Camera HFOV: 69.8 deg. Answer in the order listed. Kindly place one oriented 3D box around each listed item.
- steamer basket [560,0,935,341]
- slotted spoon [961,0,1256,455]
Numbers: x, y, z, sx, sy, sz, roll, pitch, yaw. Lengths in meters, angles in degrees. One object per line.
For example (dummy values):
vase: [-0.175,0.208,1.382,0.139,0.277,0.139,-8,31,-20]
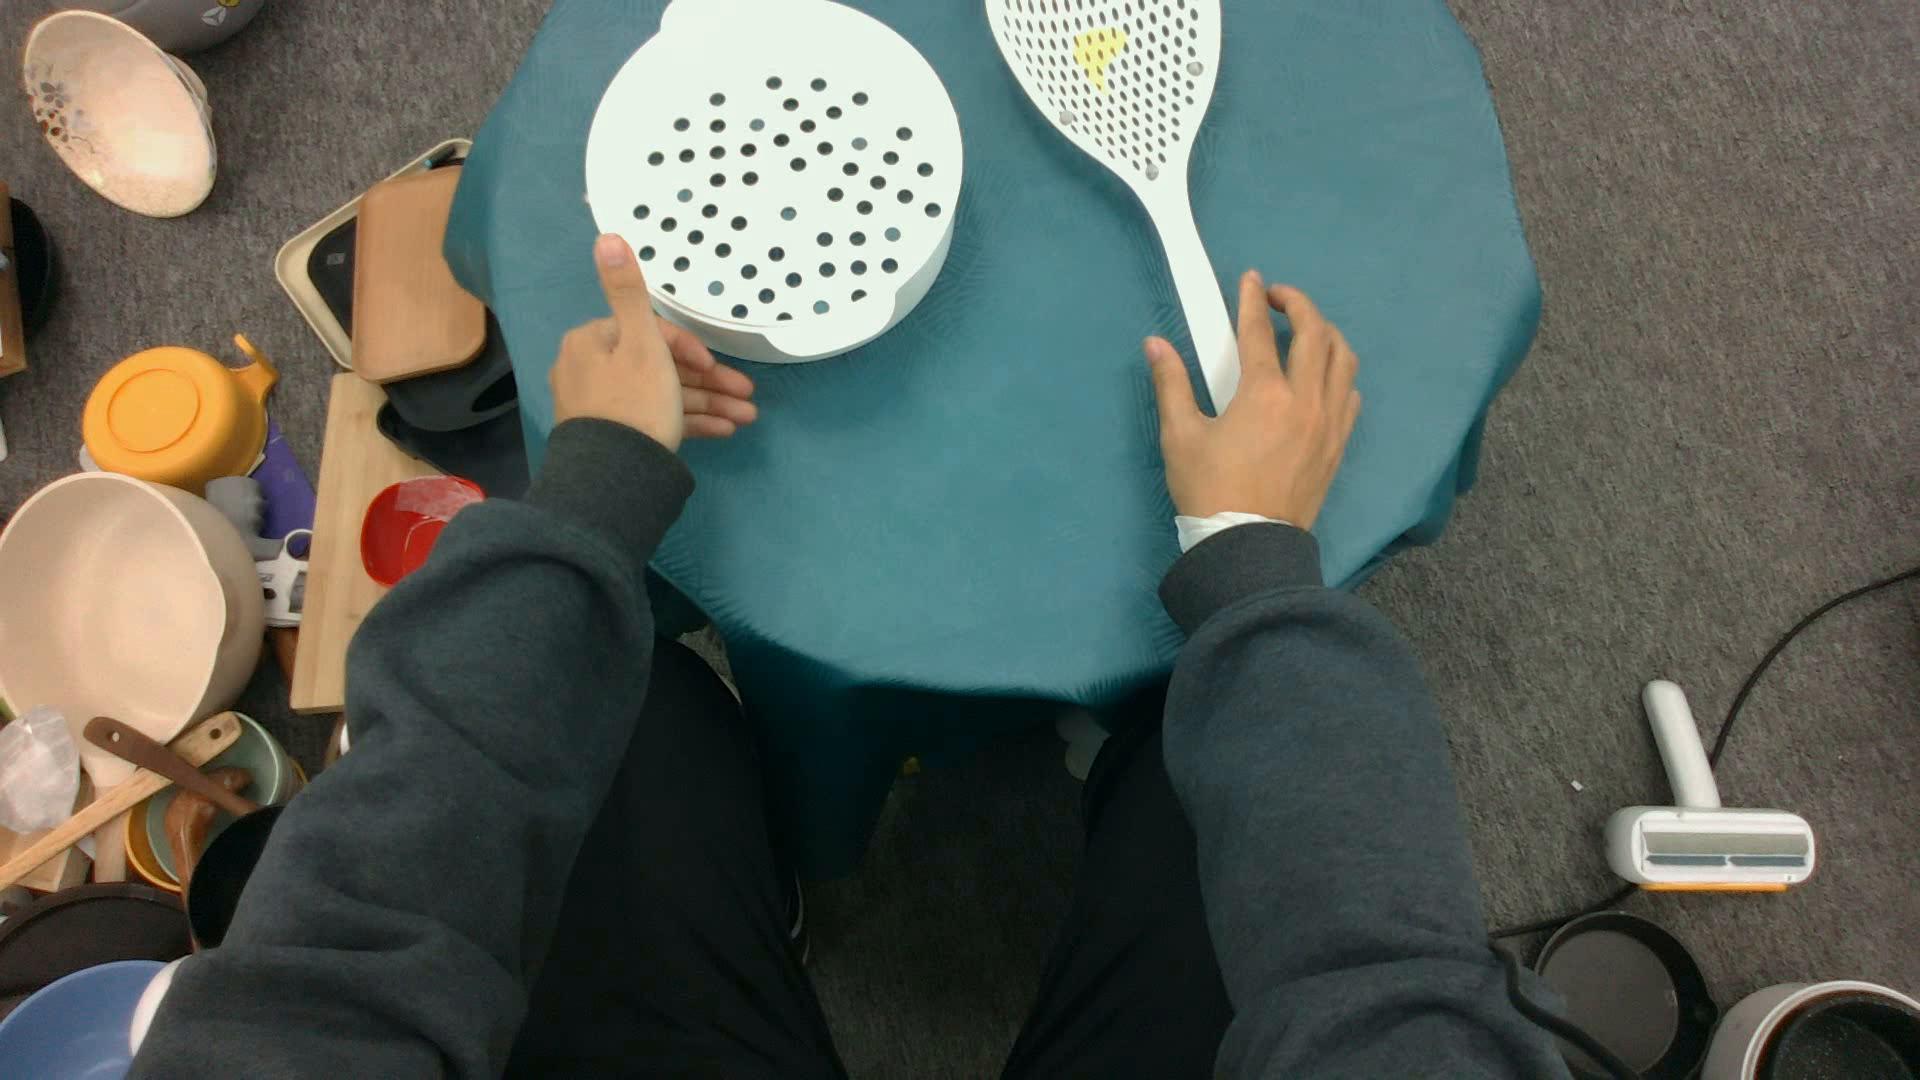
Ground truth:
steamer basket: [-0.114,-0.209,0.768,0.202,0.069,0.231,-19,74,-6]
slotted spoon: [0.100,-0.213,0.790,0.137,0.050,0.348,-16,76,-10]
